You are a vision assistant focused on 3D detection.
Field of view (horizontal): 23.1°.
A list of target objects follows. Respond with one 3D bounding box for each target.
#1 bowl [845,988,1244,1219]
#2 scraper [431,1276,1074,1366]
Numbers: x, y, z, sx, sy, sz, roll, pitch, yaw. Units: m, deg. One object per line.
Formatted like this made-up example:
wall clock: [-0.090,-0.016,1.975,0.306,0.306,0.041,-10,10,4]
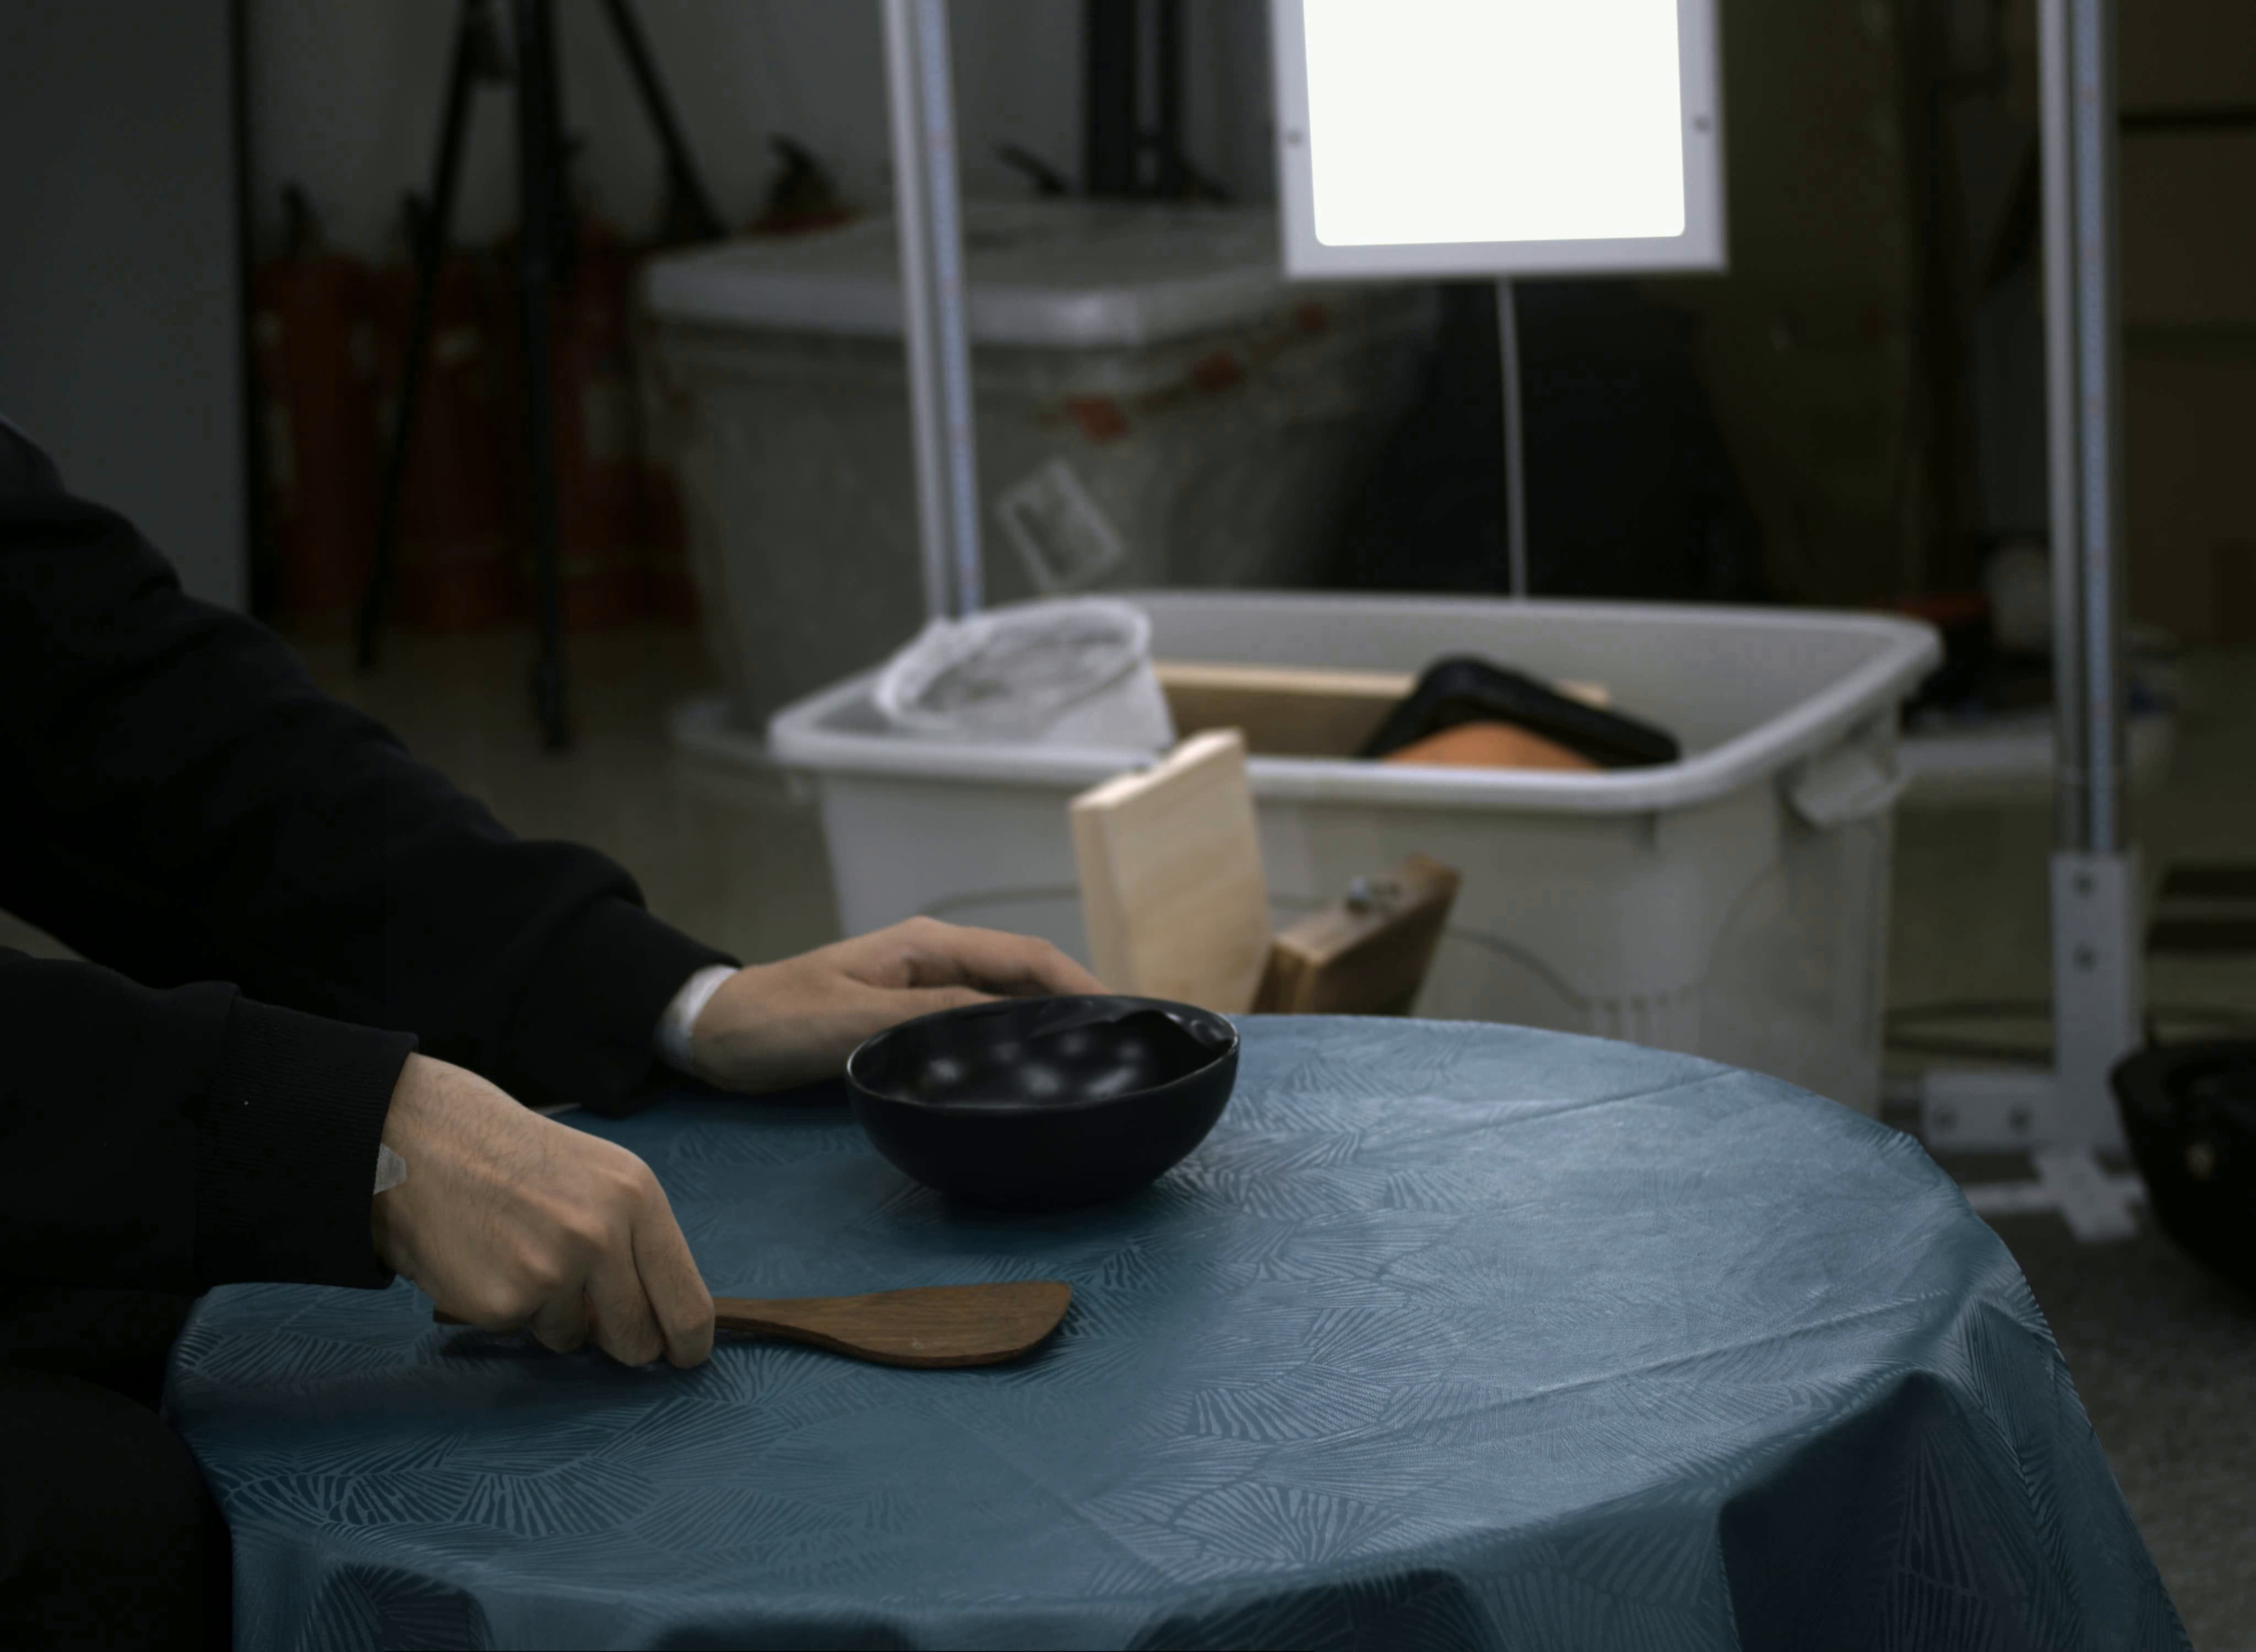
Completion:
bowl: [-0.027,0.101,1.913,0.140,0.050,0.140,-7,16,1]
scraper: [-0.123,0.158,1.784,0.213,0.011,0.075,1,14,13]
